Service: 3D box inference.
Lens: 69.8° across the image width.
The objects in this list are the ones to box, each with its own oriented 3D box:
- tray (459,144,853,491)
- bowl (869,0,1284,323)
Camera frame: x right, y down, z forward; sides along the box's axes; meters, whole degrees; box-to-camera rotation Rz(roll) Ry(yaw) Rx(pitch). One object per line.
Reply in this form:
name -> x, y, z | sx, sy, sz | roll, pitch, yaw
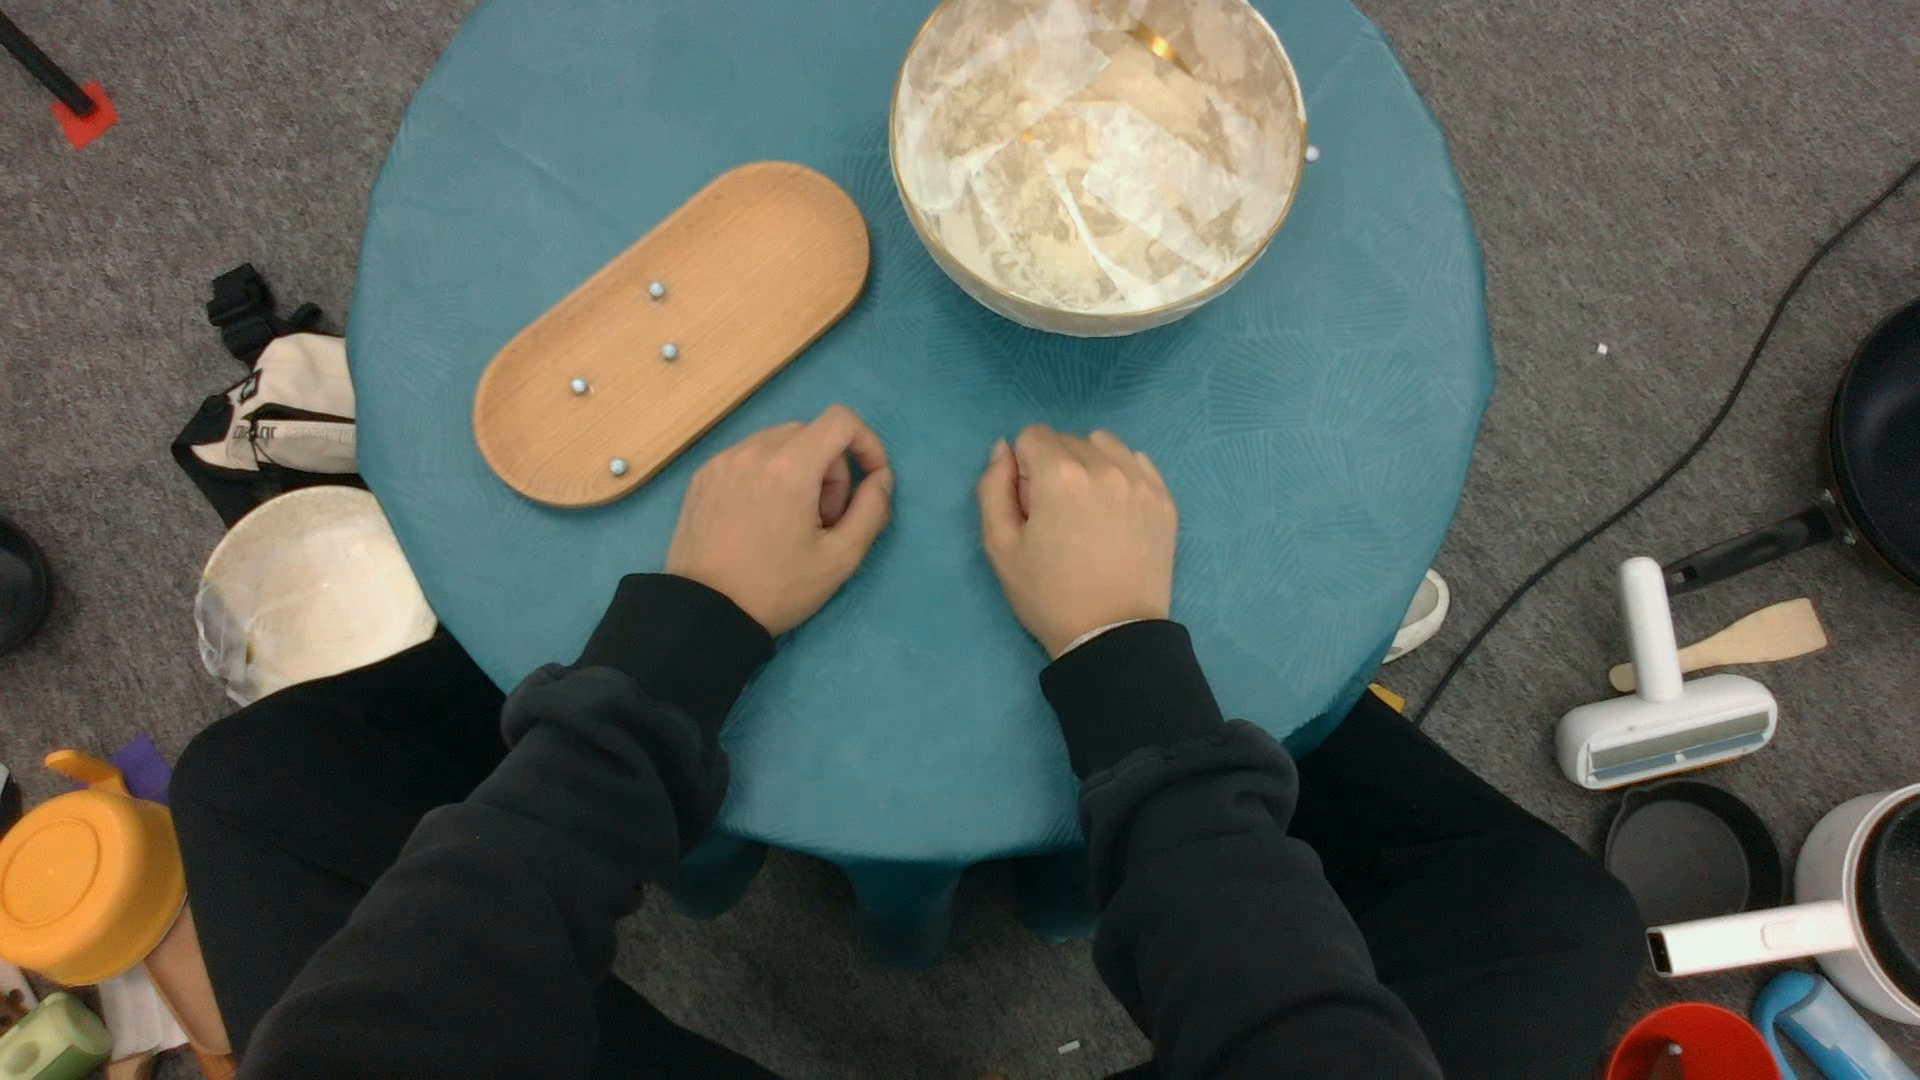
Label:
tray -> -0.154, -0.117, 0.712 | 0.232, 0.020, 0.102 | -43, 84, -14
bowl -> 0.051, -0.194, 0.703 | 0.215, 0.094, 0.215 | 1, 76, -4
